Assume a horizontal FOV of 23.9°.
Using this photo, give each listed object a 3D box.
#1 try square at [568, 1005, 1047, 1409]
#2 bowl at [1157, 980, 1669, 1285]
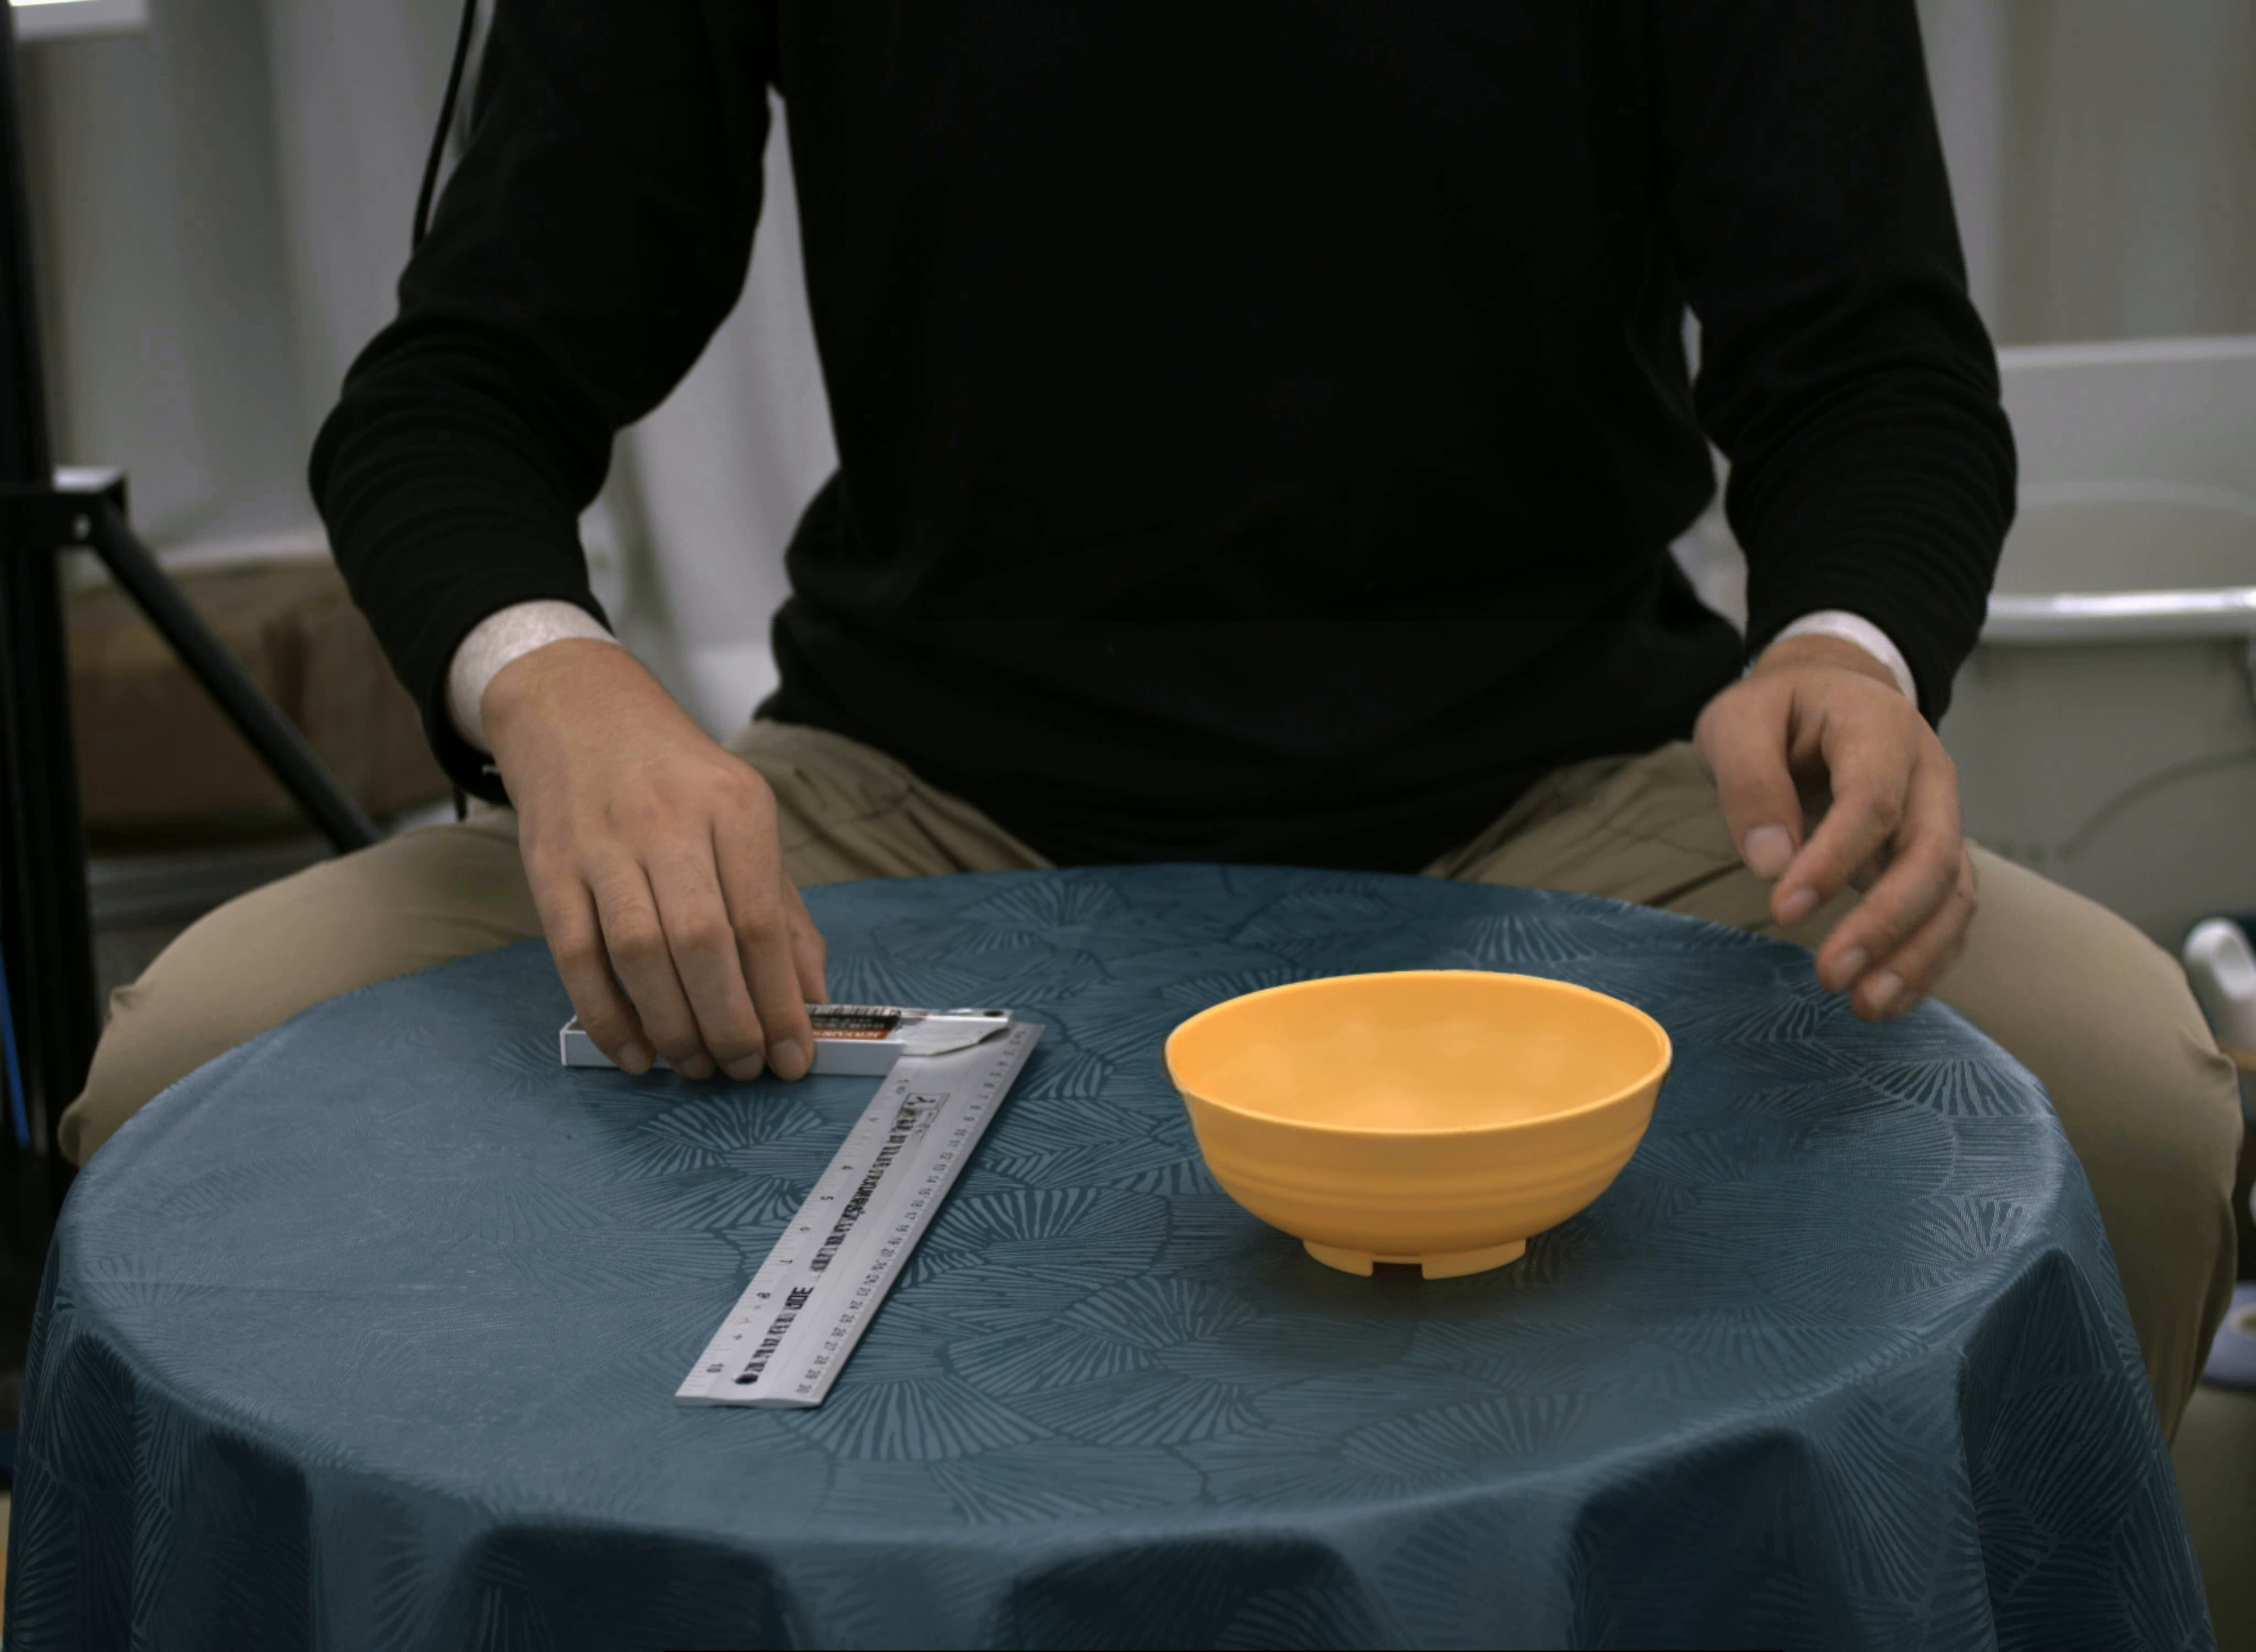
[{"bbox_3d":[-0.125,0.110,1.567,0.153,0.016,0.311,-3,16,12],"label":"try square"},{"bbox_3d":[0.080,0.092,1.500,0.144,0.060,0.146,0,14,-1],"label":"bowl"}]
